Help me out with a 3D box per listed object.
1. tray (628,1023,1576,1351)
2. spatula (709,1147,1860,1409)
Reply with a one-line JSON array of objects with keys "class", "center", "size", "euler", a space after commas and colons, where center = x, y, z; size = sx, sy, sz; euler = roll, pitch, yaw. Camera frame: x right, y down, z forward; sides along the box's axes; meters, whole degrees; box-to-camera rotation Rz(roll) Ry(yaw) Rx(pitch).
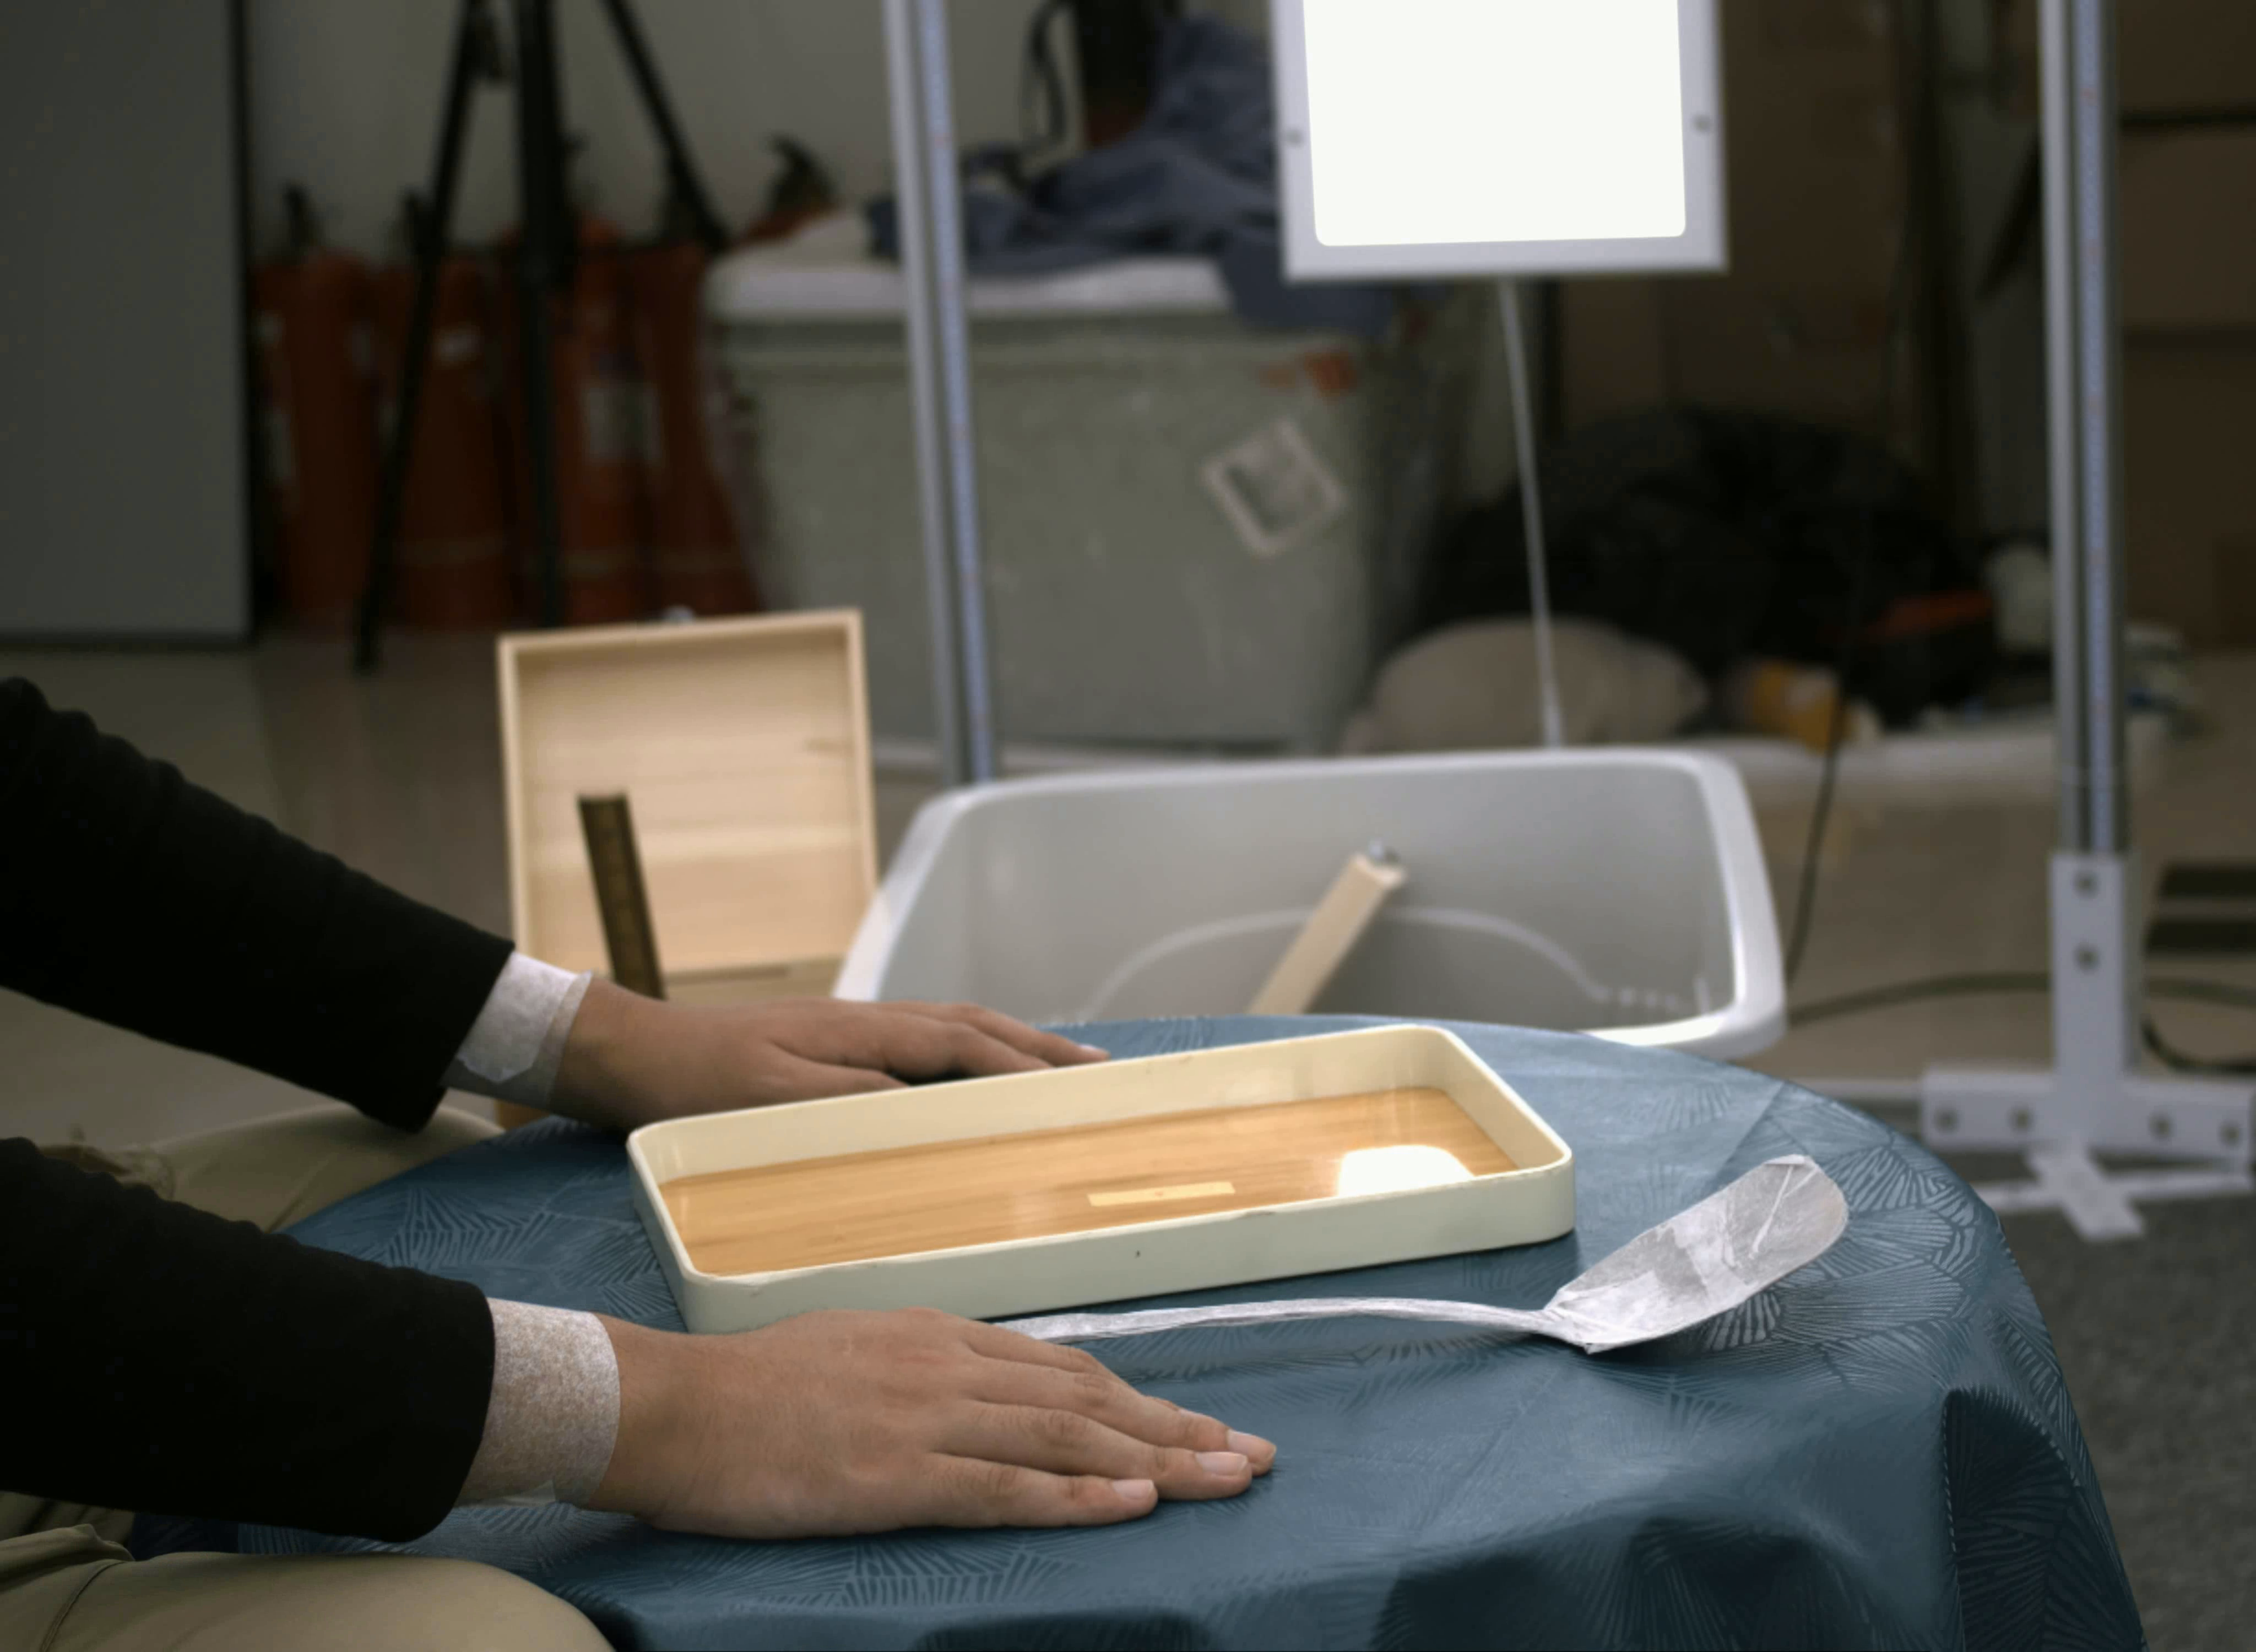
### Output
[{"class": "tray", "center": [-0.012, 0.120, 1.872], "size": [0.297, 0.027, 0.192], "euler": [-7, 14, -8]}, {"class": "spatula", "center": [0.048, 0.147, 1.716], "size": [0.364, 0.045, 0.098], "euler": [-5, 14, 0]}]
